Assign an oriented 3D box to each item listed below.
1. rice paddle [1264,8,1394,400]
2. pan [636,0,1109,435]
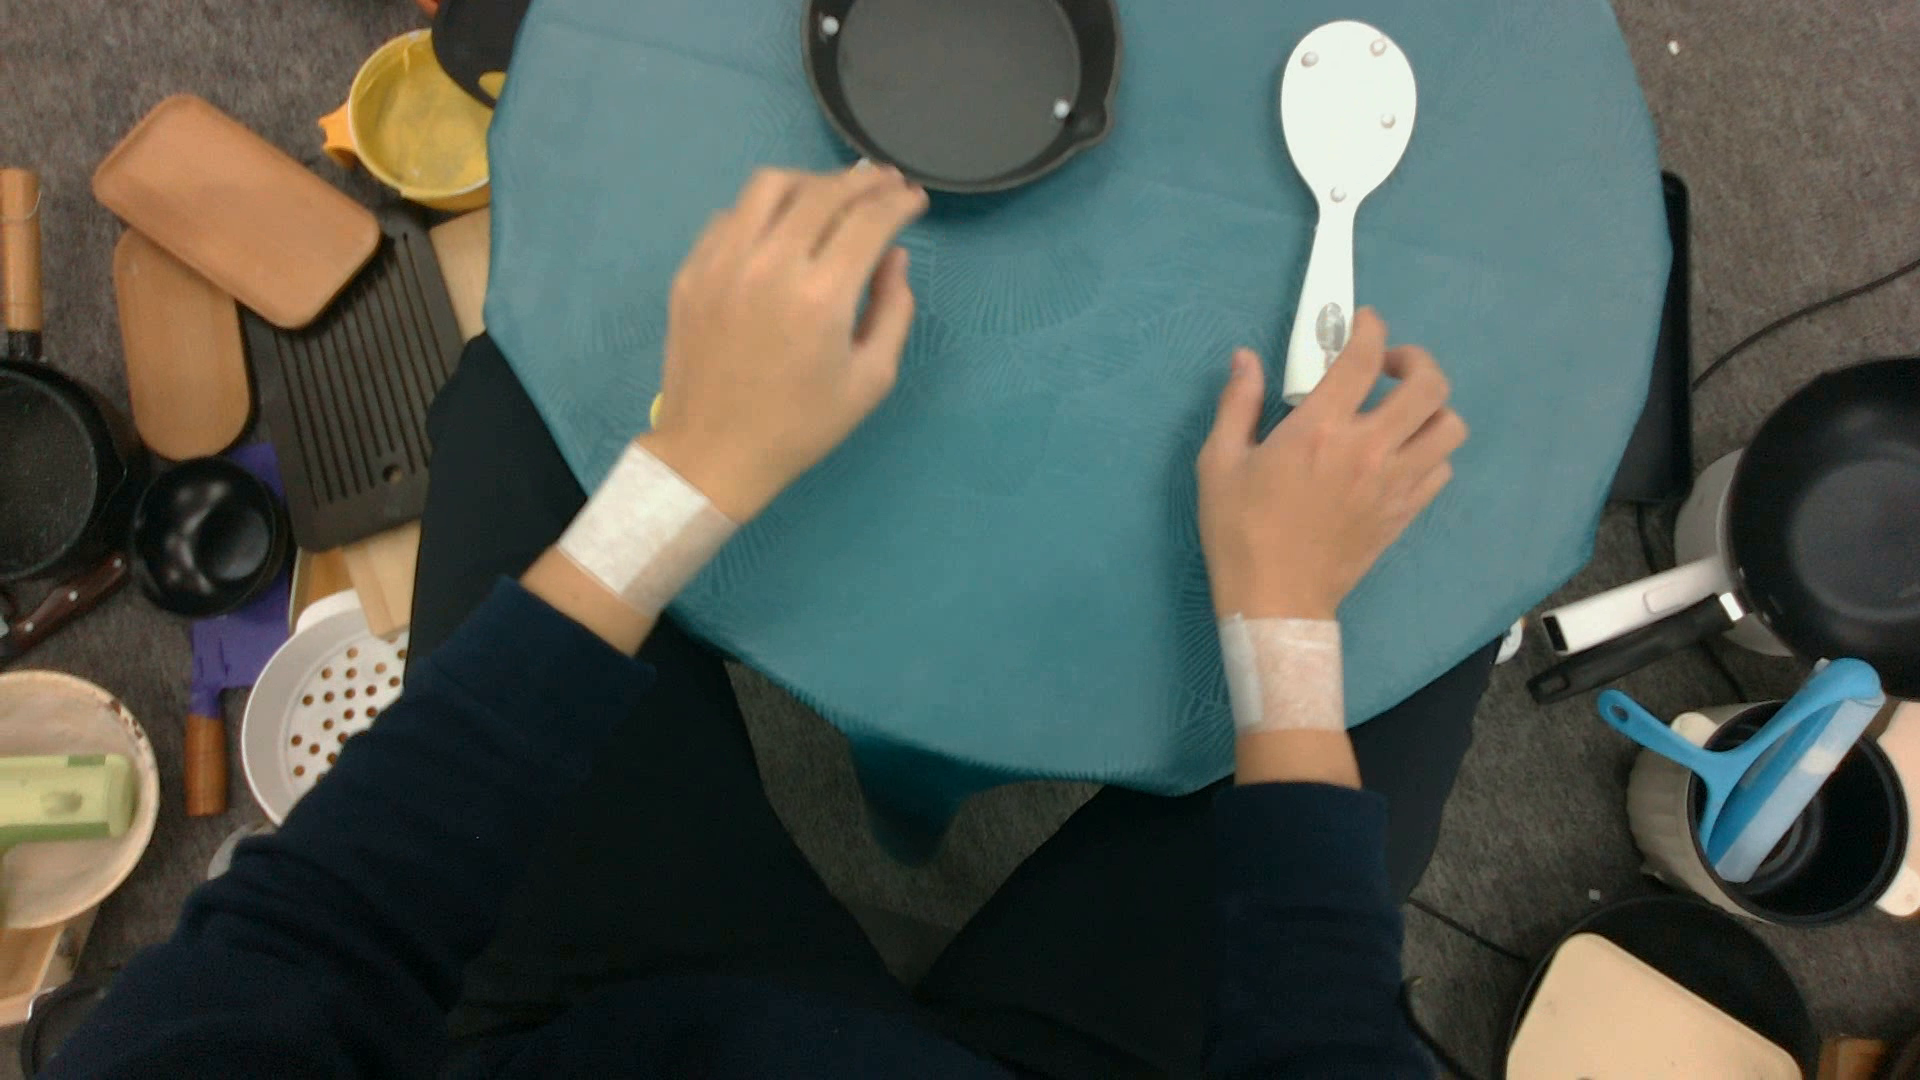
[{"bbox_3d":[0.181,-0.173,0.695,0.069,0.029,0.205,8,83,-6],"label":"rice paddle"},{"bbox_3d":[-0.053,-0.182,0.666,0.169,0.049,0.325,35,80,0],"label":"pan"}]
